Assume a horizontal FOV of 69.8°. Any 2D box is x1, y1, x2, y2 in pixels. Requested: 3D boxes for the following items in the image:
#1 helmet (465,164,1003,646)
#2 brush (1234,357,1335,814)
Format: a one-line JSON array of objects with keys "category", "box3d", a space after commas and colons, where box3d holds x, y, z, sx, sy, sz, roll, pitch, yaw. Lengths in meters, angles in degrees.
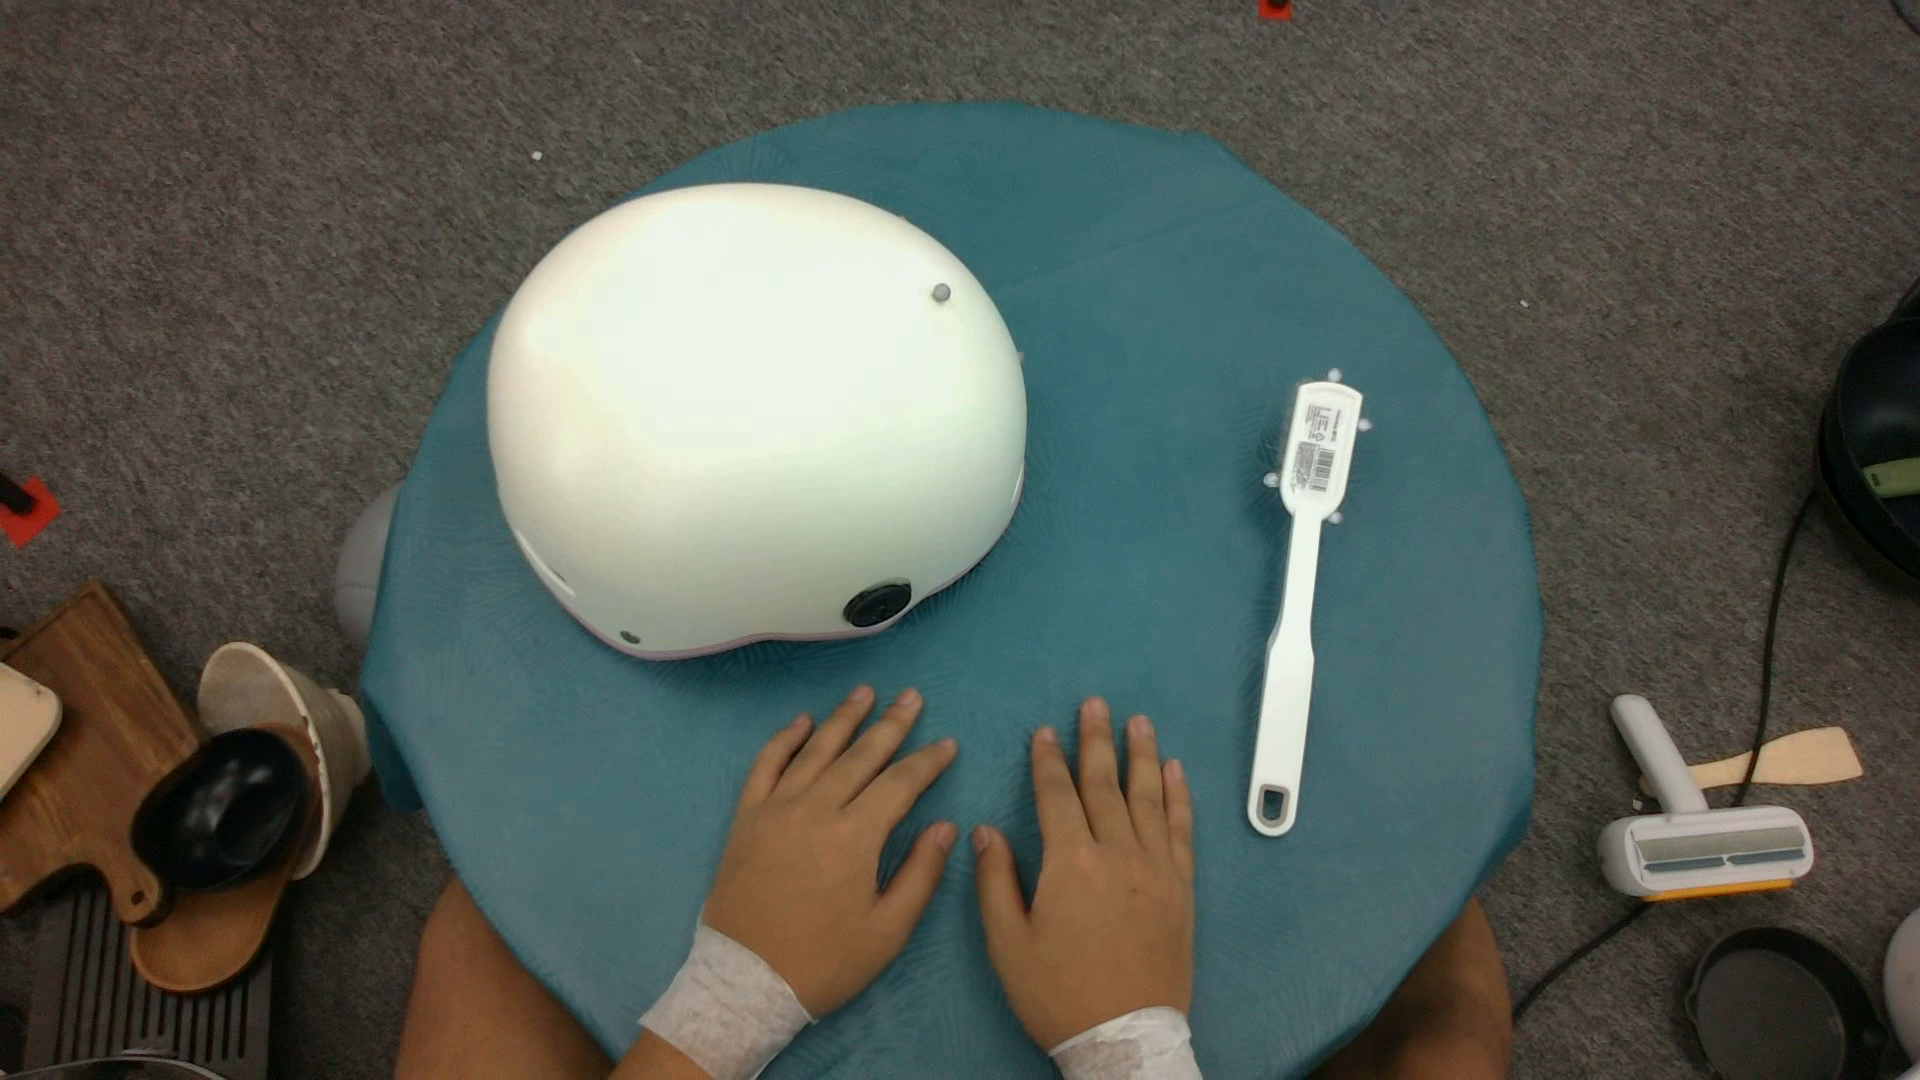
[{"category": "helmet", "box3d": [-0.107, -0.084, 0.665, 0.269, 0.166, 0.237, -15, 66, -10]}, {"category": "brush", "box3d": [0.162, 0.019, 0.708, 0.034, 0.050, 0.244, 8, 78, 5]}]
